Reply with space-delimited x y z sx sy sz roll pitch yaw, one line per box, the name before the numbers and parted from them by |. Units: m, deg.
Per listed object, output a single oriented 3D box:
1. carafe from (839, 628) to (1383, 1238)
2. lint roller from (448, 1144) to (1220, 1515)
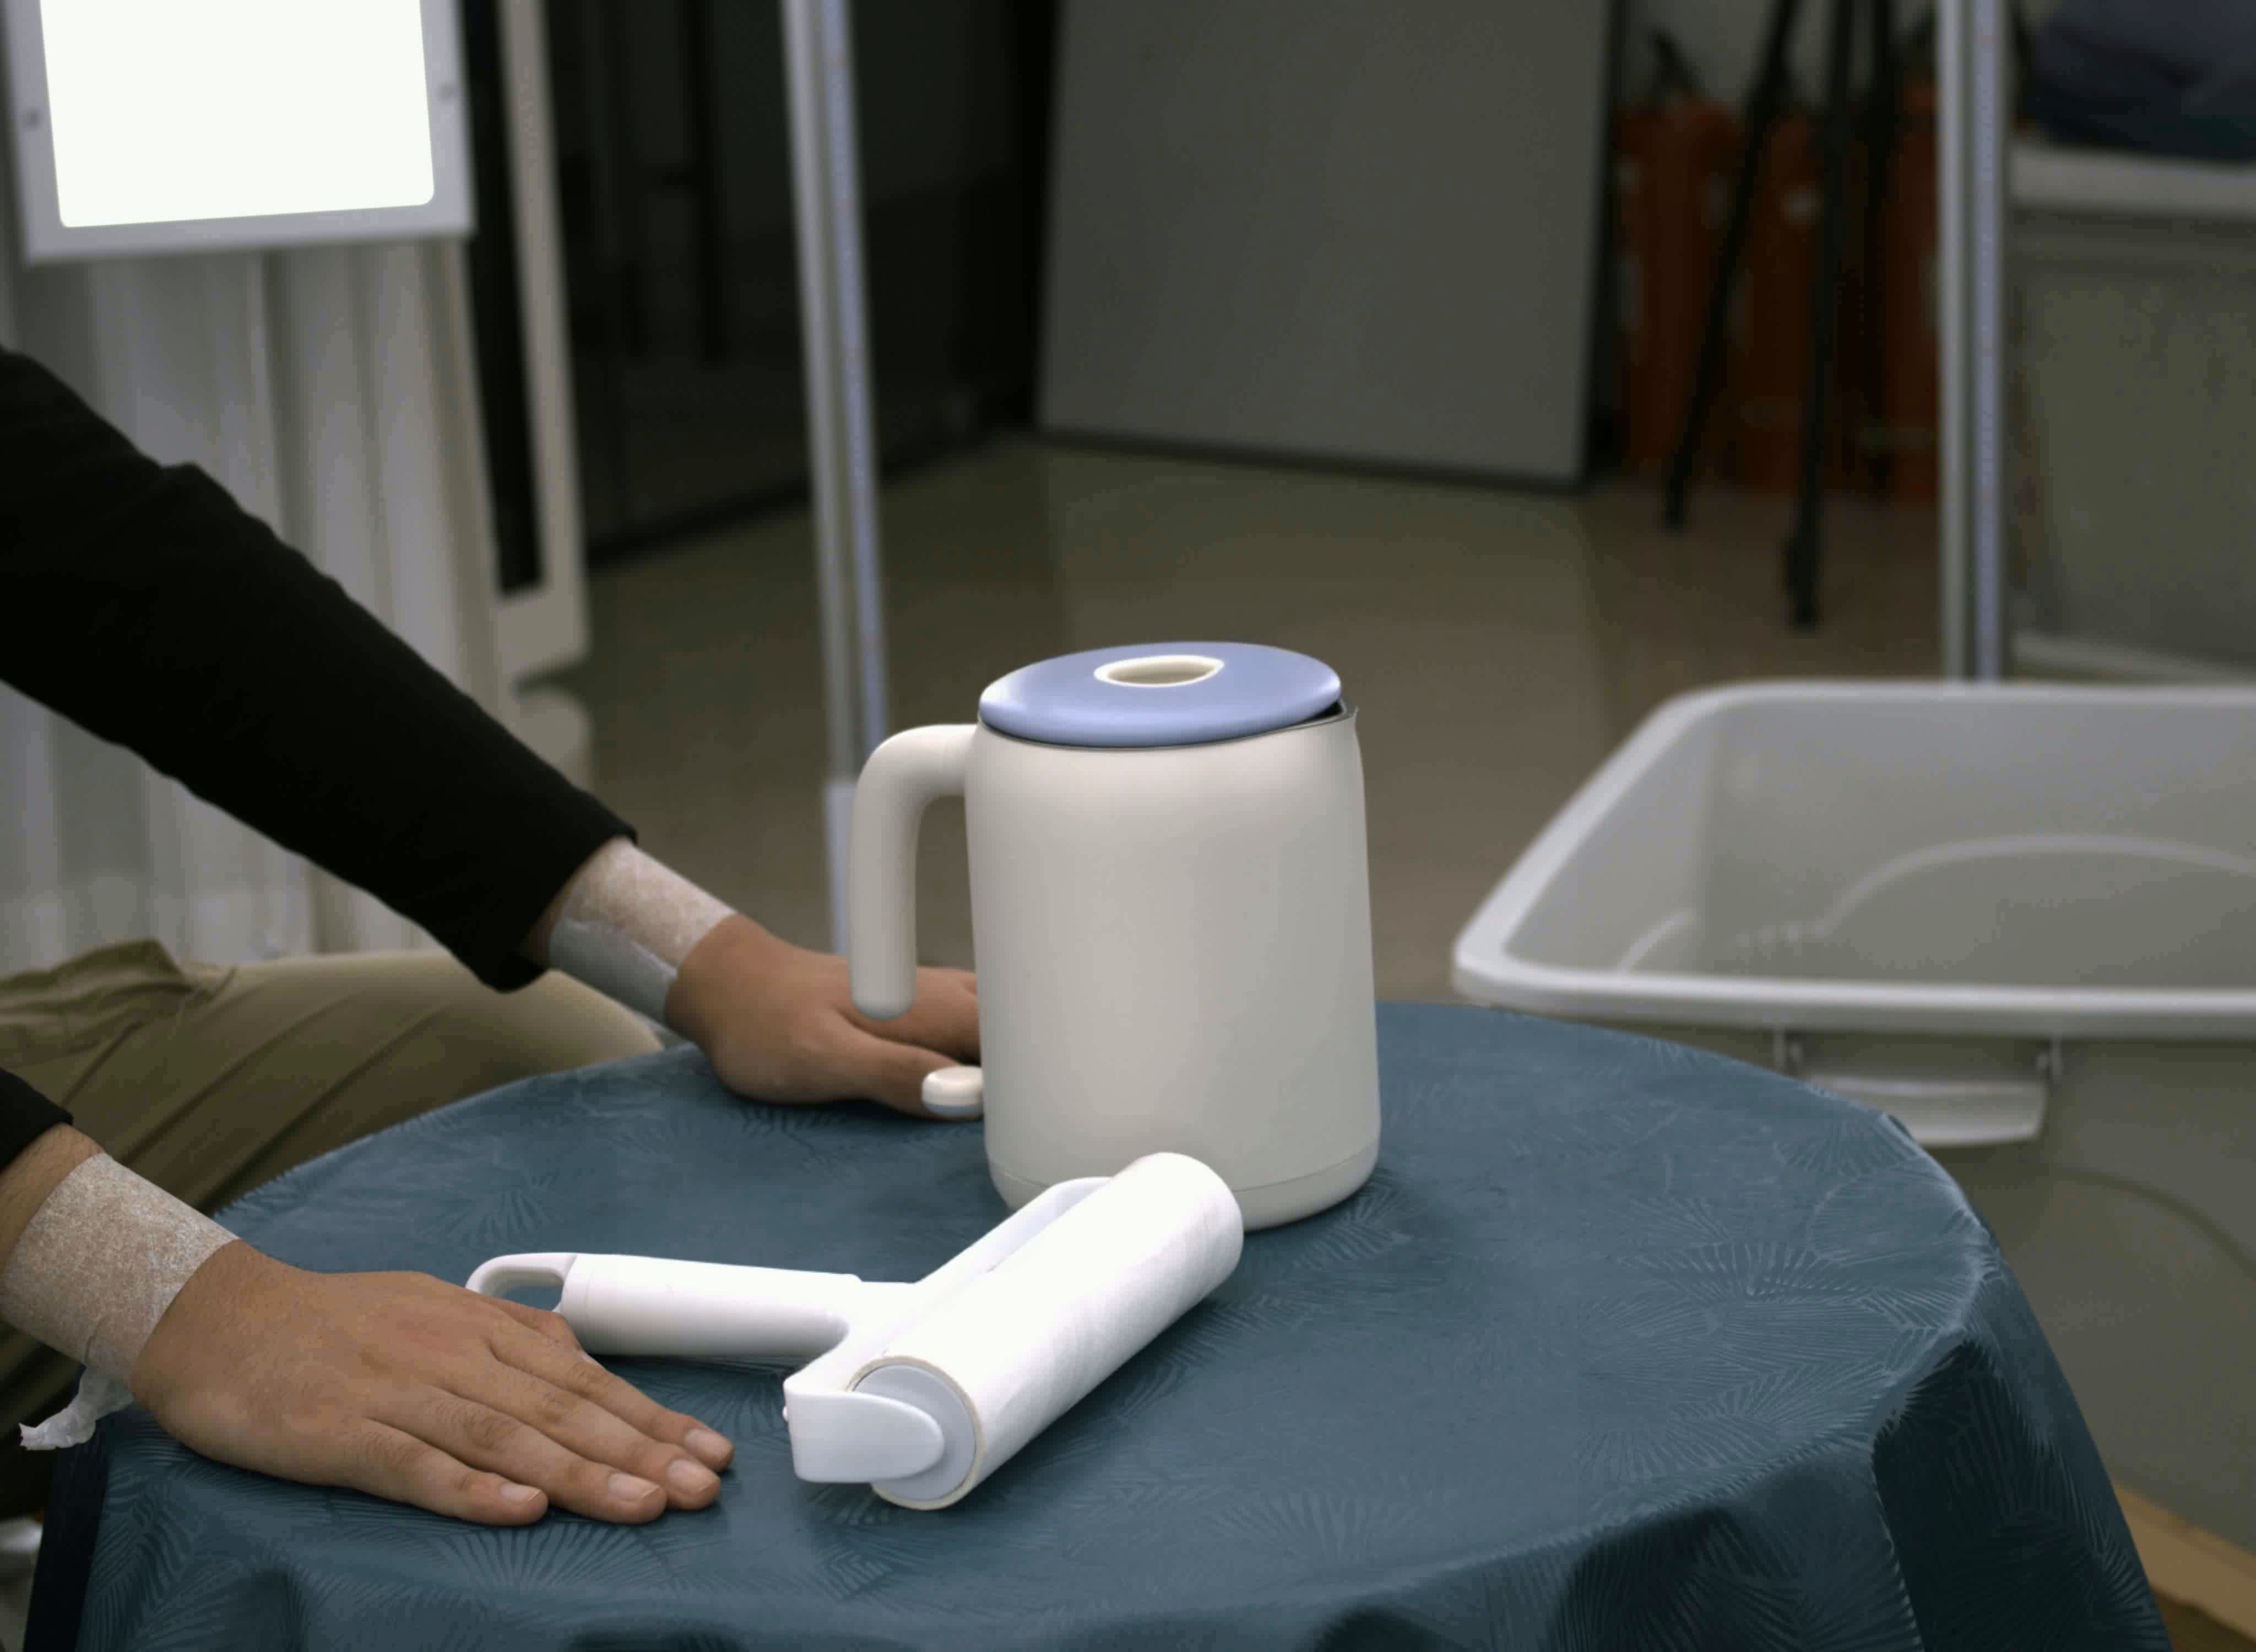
carafe | -0.008 0.034 1.763 0.191 0.184 0.130 0 13 24
lint roller | -0.106 0.144 1.618 0.226 0.049 0.200 1 16 25
